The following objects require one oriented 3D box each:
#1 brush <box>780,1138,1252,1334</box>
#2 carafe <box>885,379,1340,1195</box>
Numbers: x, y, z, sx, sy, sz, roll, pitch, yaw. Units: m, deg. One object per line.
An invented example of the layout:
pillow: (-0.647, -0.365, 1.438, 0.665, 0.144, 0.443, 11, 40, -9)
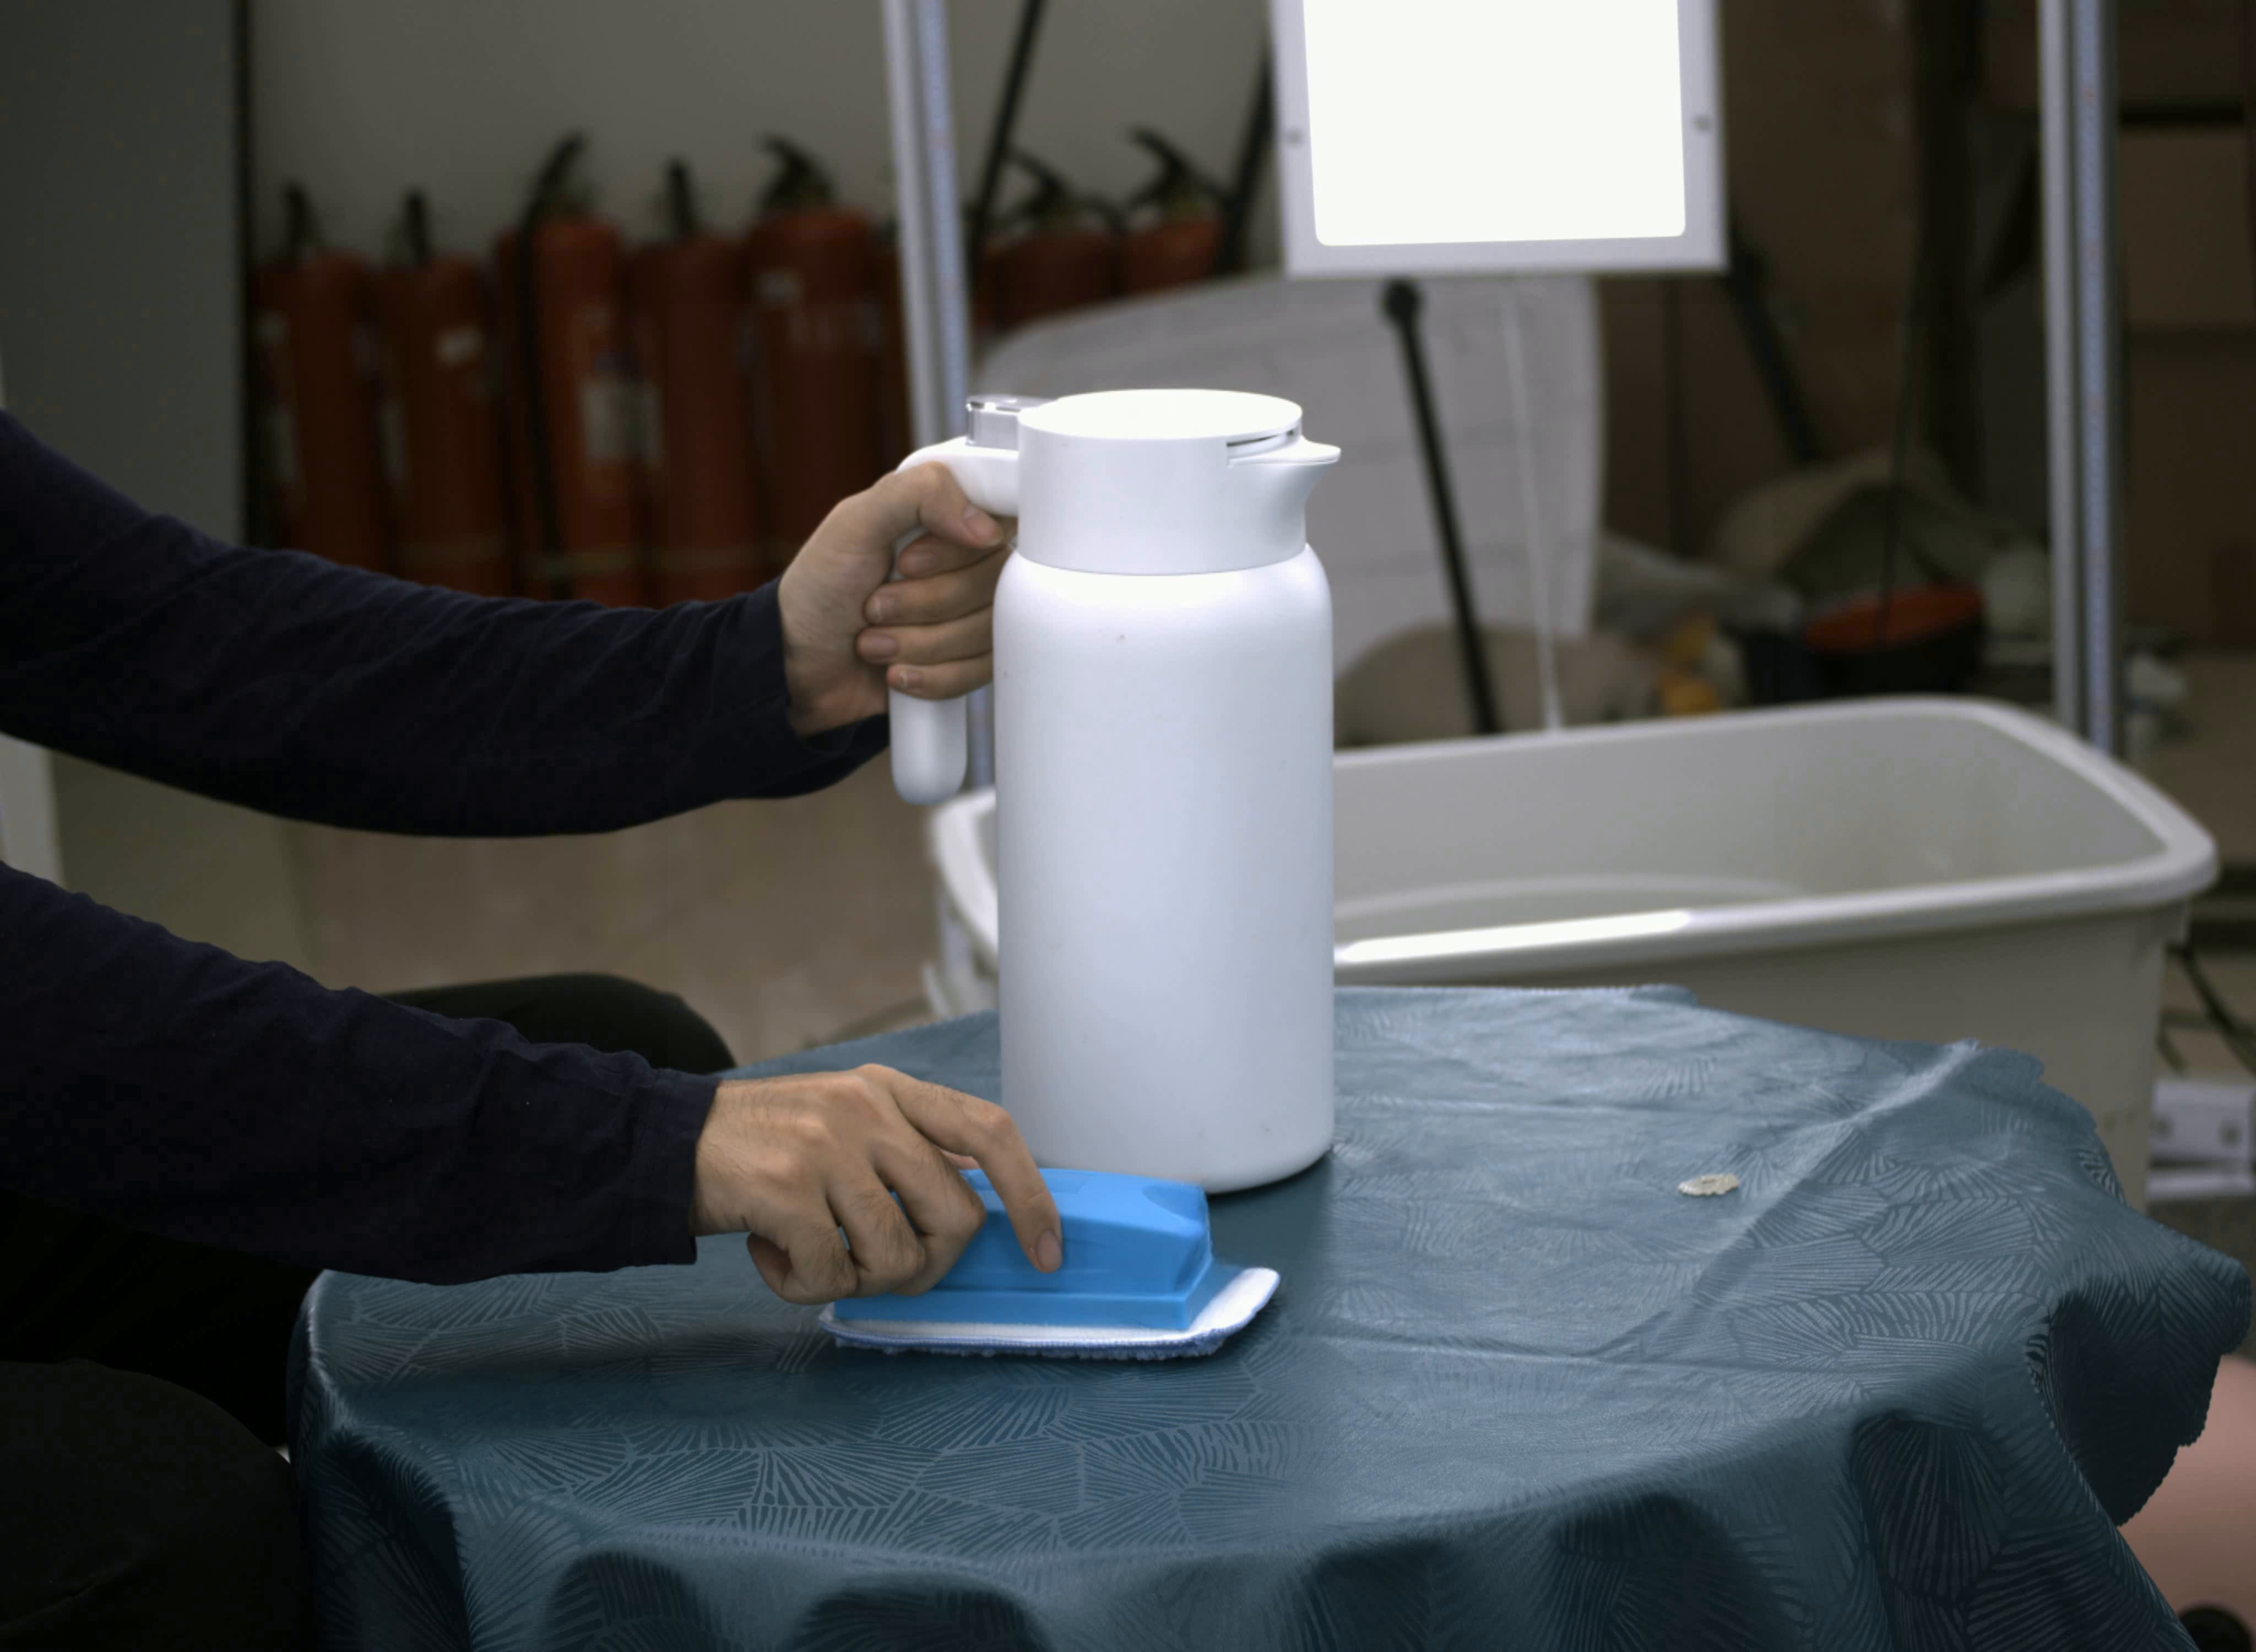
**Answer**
brush: (-0.035, 0.131, 1.762, 0.146, 0.056, 0.082, 4, 12, 21)
carafe: (-0.003, -0.015, 1.902, 0.176, 0.270, 0.121, 6, 17, 29)
